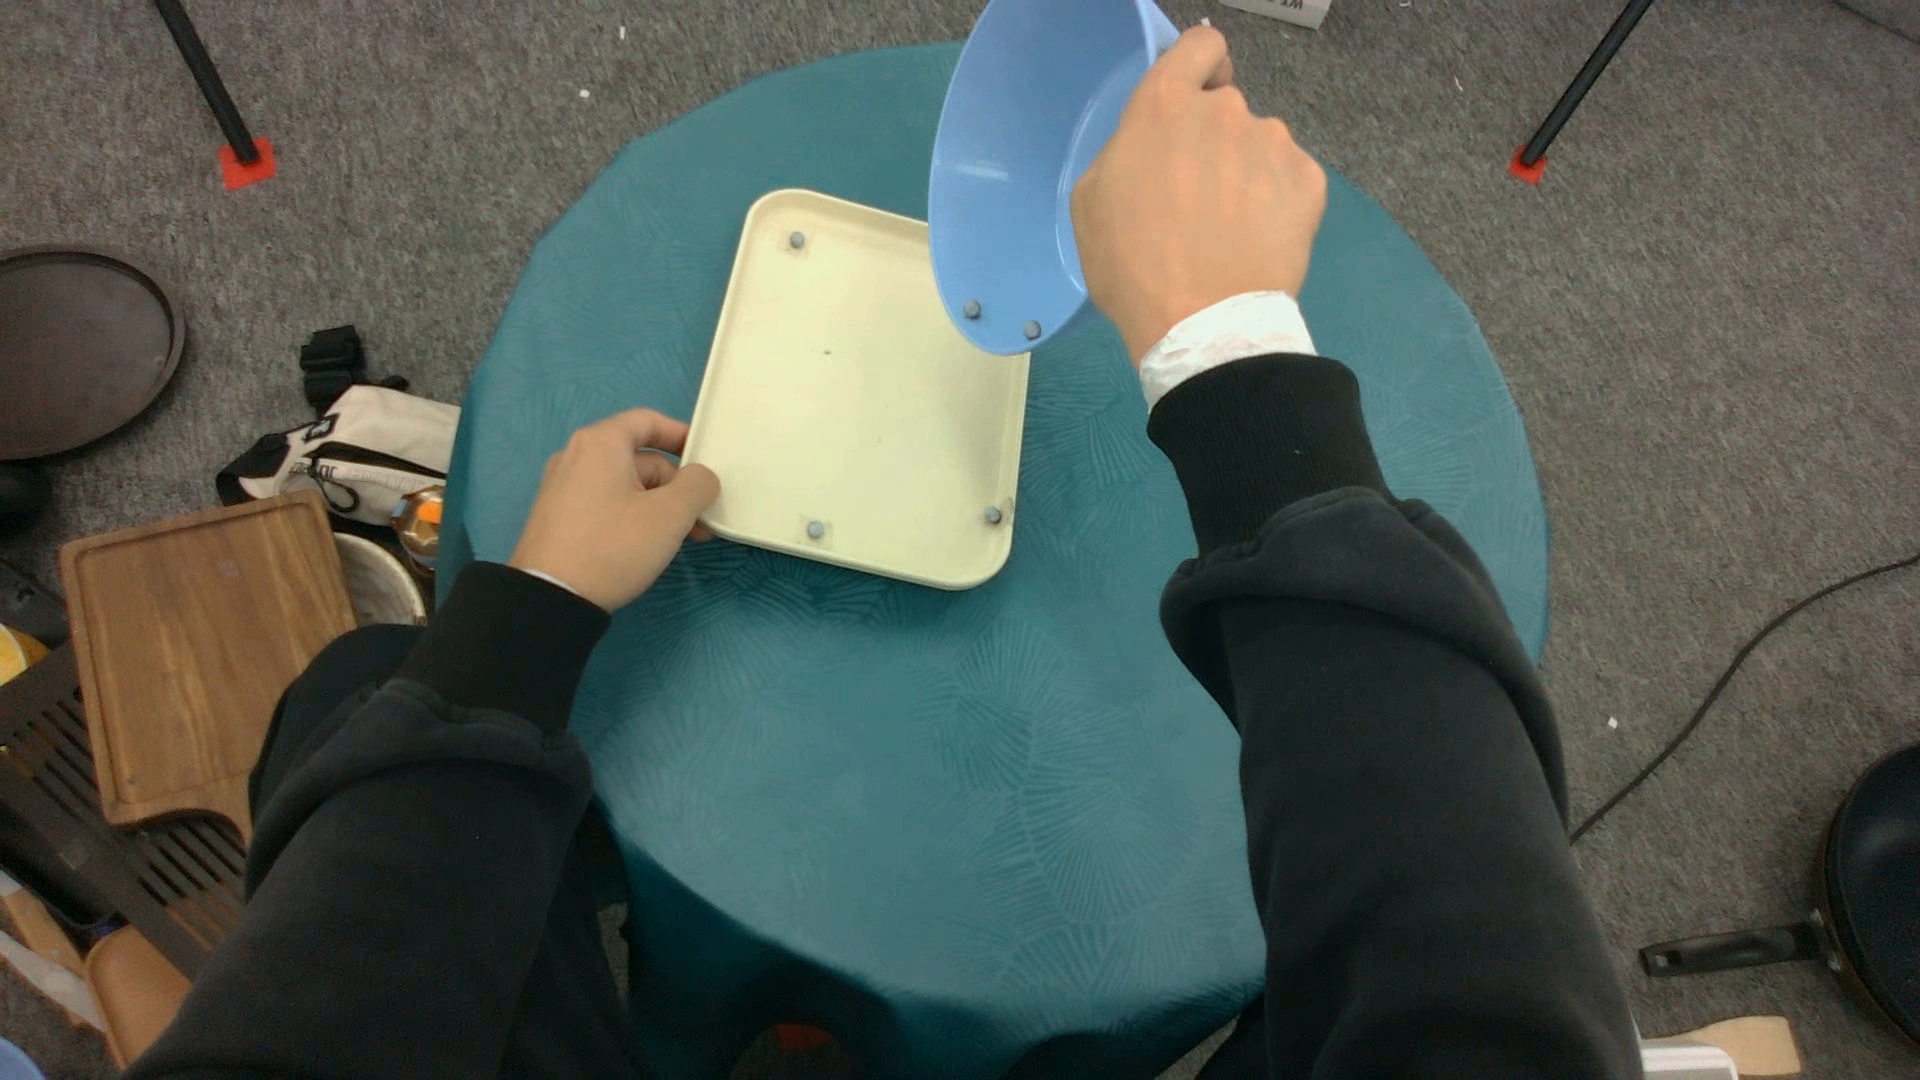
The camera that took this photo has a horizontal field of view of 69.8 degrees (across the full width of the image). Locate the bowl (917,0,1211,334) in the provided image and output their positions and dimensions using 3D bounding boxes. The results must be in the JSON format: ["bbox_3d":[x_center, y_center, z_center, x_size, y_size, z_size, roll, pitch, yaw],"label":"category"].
[{"bbox_3d":[0.052,-0.178,0.626,0.070,0.175,0.176,4,62,-32],"label":"bowl"}]

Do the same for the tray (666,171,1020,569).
[{"bbox_3d":[-0.054,-0.096,0.737,0.171,0.017,0.241,13,56,-9],"label":"tray"}]
